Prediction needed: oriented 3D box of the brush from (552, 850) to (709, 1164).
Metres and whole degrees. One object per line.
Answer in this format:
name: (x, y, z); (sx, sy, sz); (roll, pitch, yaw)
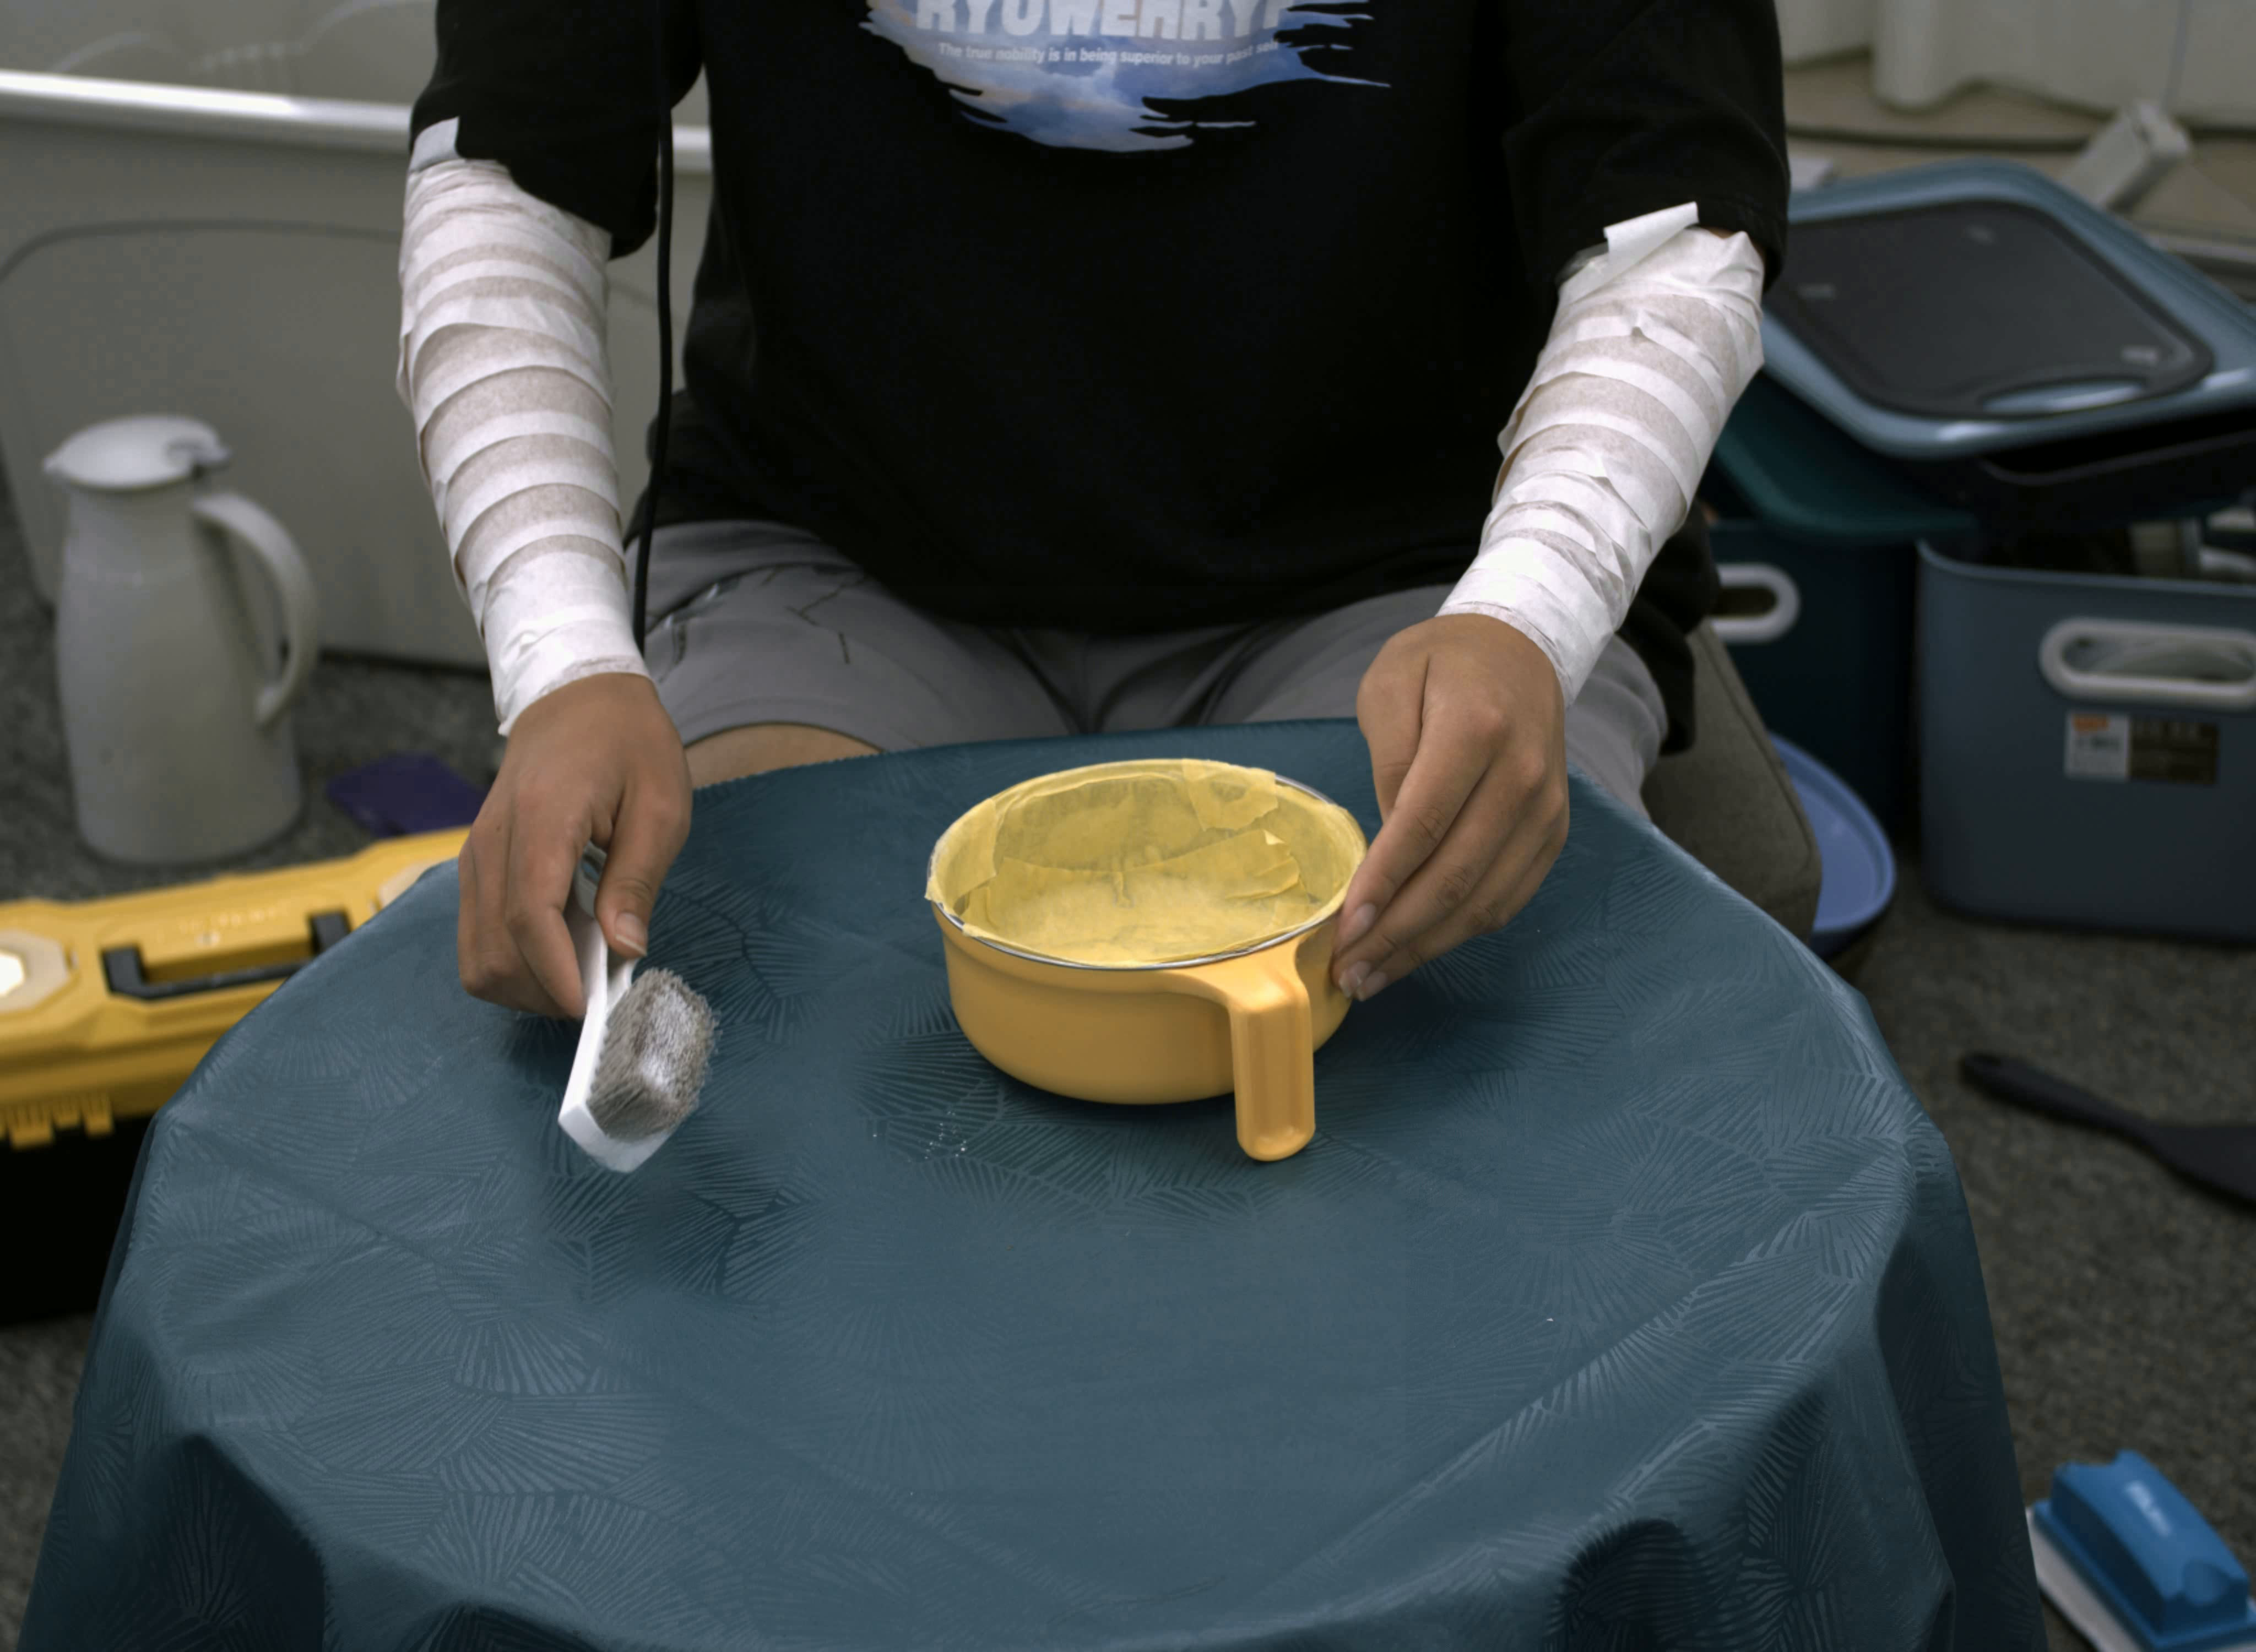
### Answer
brush: (-0.169, 0.046, 1.932); (0.034, 0.050, 0.246); (38, 14, -17)

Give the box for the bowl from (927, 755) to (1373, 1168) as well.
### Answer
bowl: (0.013, 0.046, 1.934); (0.153, 0.073, 0.180); (-12, 29, -25)
